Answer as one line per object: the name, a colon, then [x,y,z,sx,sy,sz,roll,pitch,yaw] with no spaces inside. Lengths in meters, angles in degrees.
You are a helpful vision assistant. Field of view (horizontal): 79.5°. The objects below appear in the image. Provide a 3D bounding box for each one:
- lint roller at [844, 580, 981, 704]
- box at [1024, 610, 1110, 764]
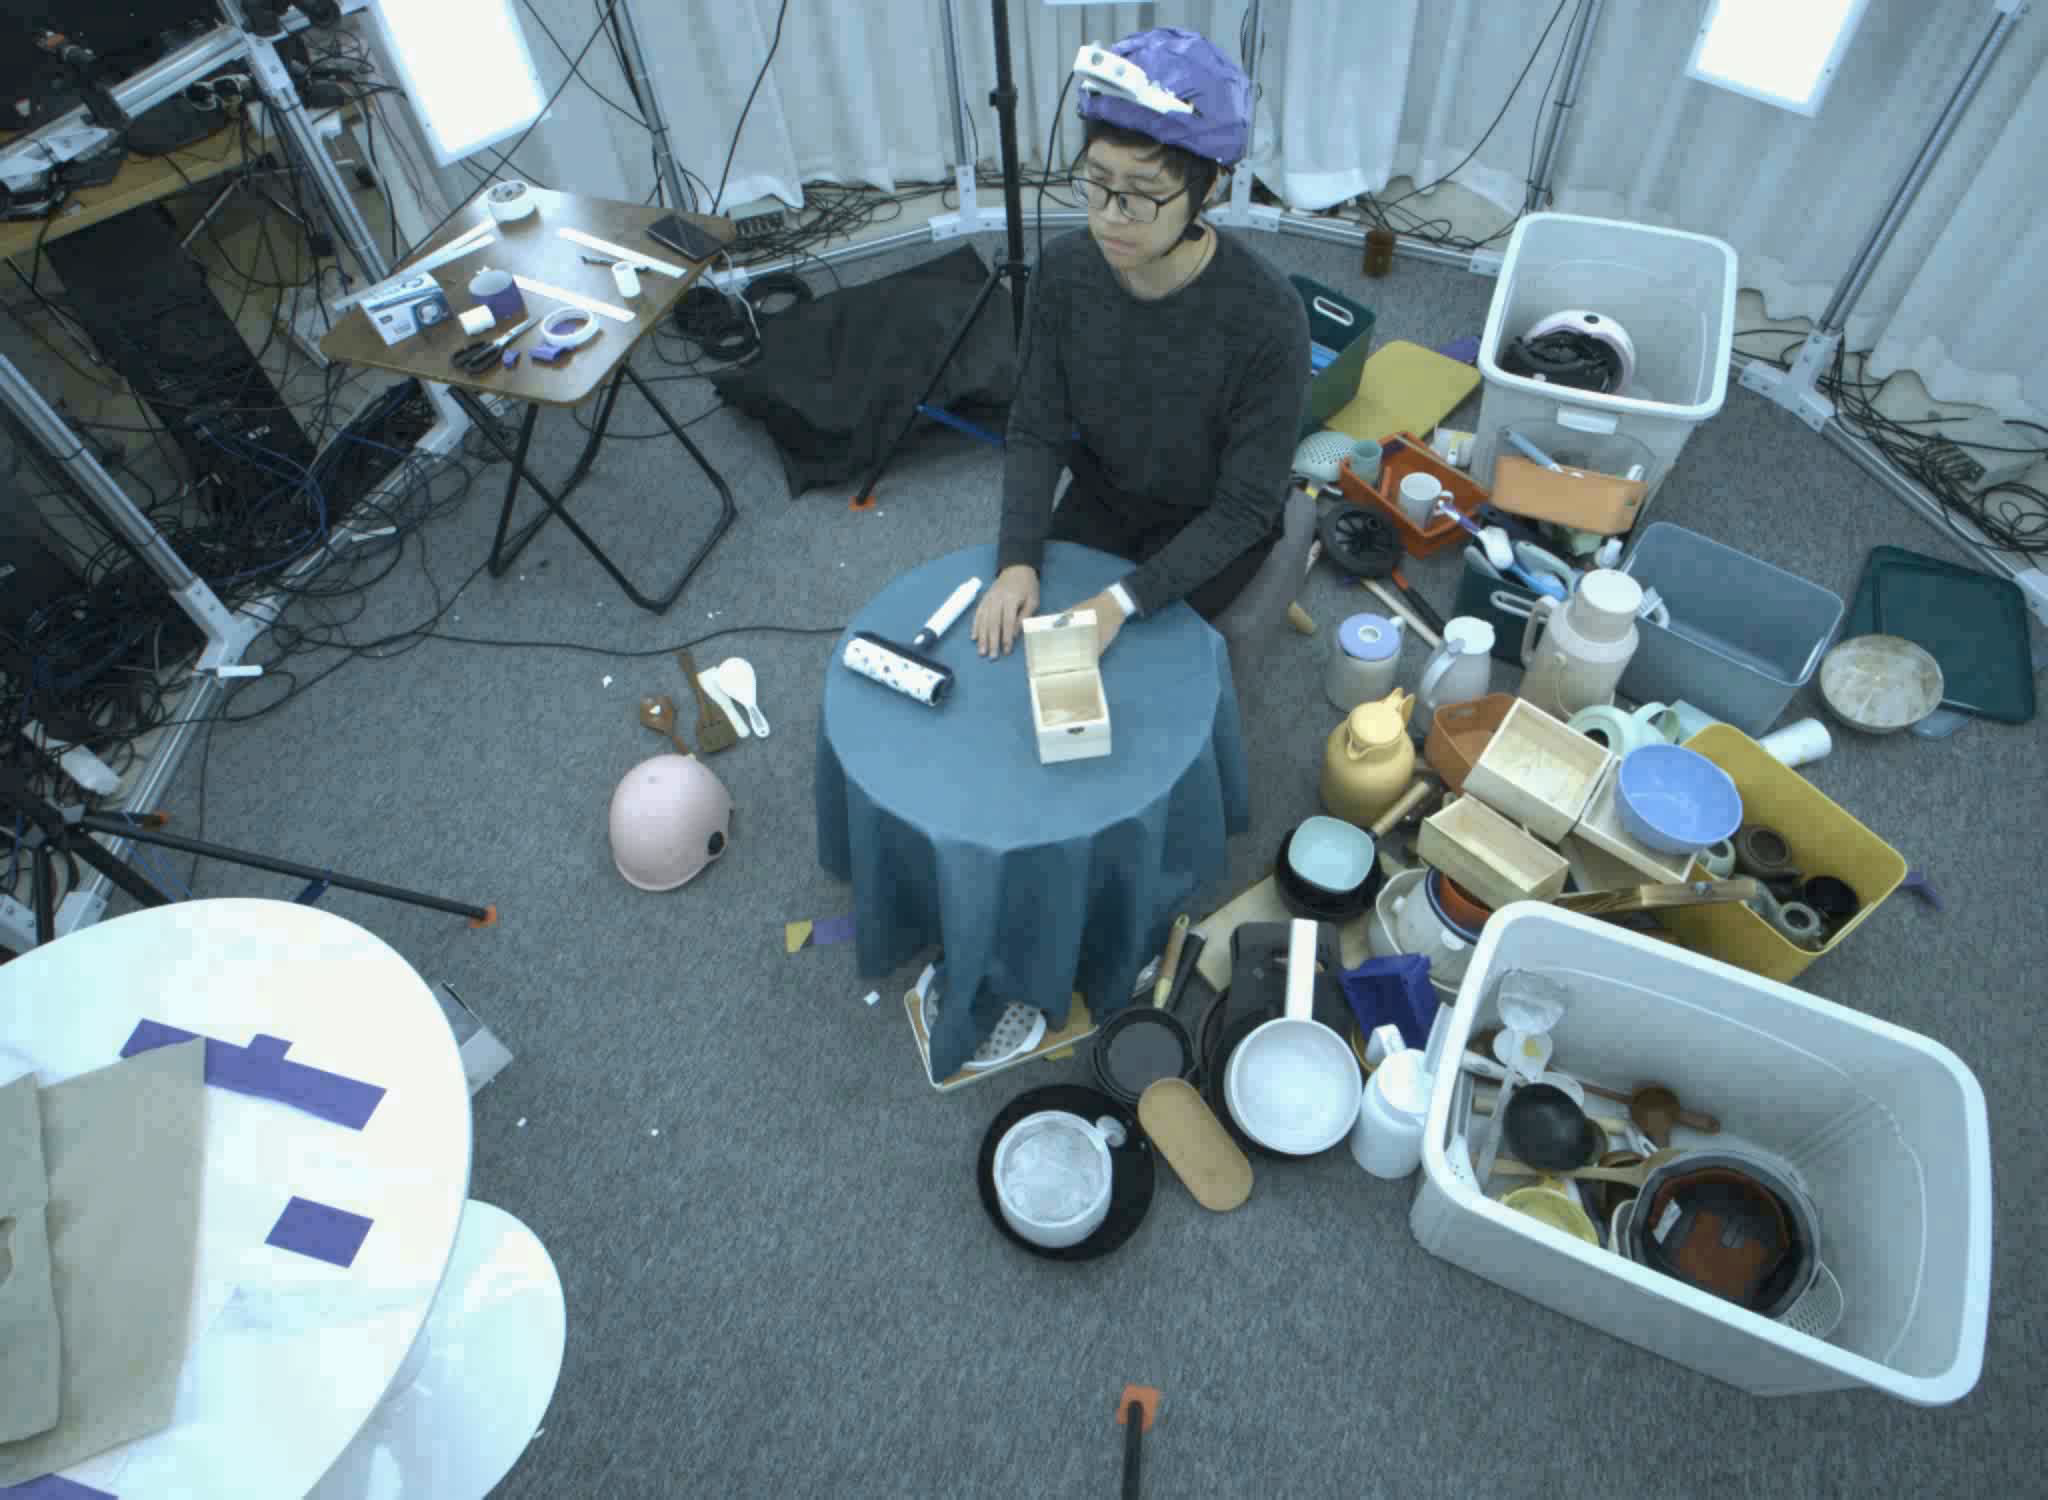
lint roller: [-0.143,-0.190,1.900,0.174,0.051,0.248,25,58,19]
box: [0.062,-0.087,1.735,0.103,0.186,0.132,-8,54,-3]
